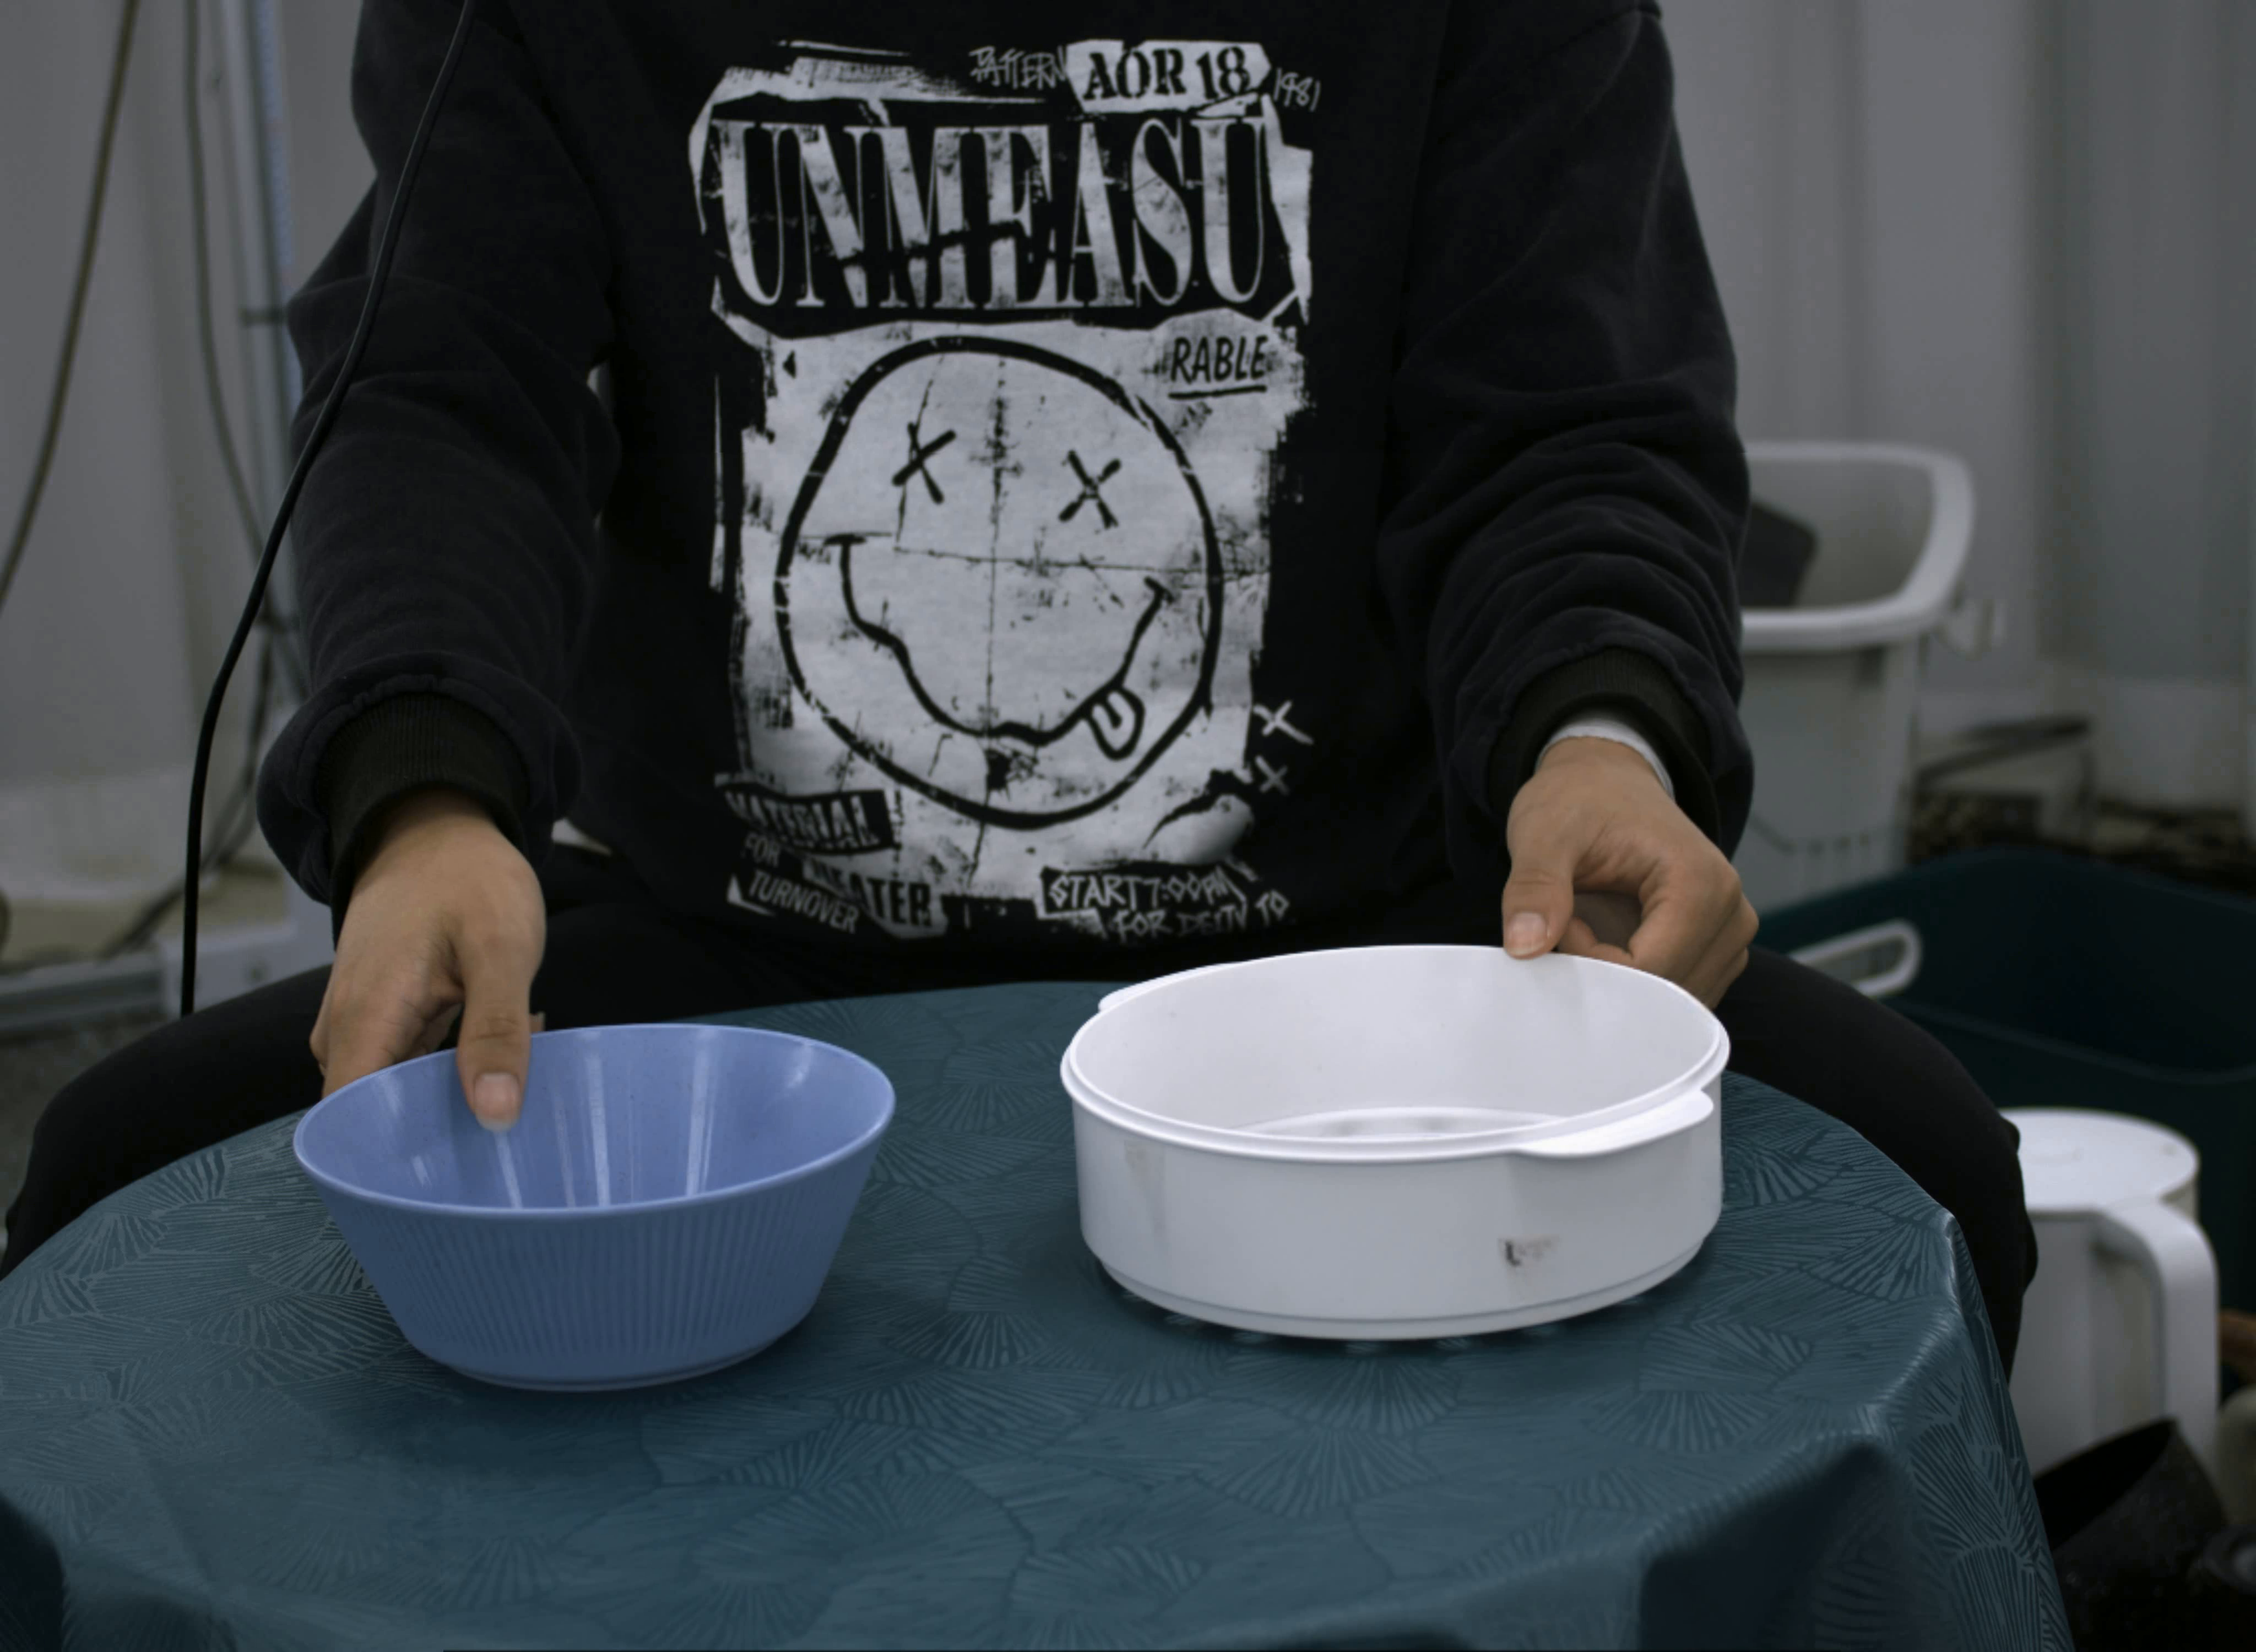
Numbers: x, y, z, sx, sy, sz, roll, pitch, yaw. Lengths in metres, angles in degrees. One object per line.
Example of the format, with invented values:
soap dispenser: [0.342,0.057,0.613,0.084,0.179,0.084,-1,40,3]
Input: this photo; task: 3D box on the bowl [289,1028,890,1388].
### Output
bowl: [-0.156,0.115,1.608,0.175,0.070,0.177,-2,15,0]

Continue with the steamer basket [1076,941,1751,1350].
steamer basket: [0.085,0.095,1.638,0.201,0.069,0.232,-14,21,-36]
